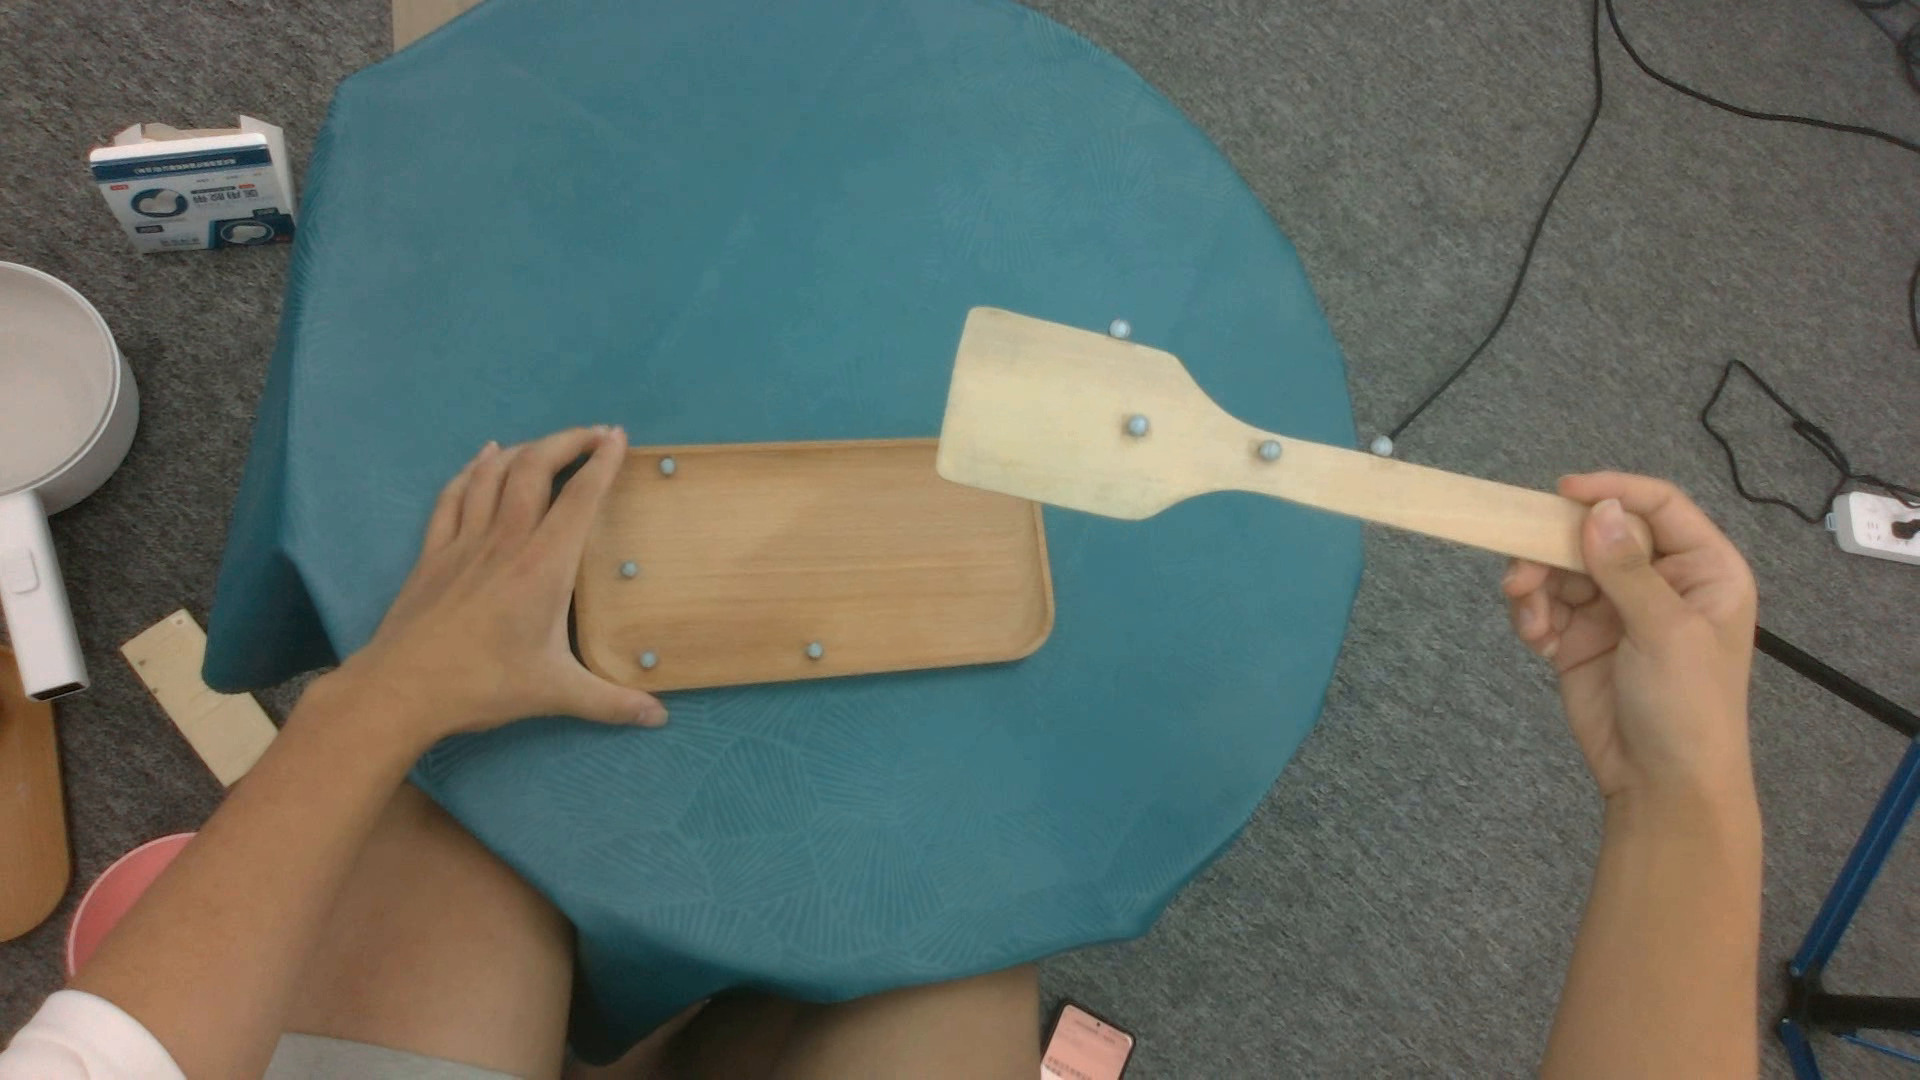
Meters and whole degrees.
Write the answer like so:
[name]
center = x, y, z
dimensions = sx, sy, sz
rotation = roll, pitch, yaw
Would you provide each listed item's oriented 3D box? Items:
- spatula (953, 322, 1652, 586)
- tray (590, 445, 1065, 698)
[spatula]
center = 0.144, -0.024, 0.553
dimensions = 0.293, 0.010, 0.072
rotation = 12, 82, -7
[tray]
center = -0.068, 0.014, 0.739
dimensions = 0.251, 0.023, 0.131
rotation = -2, 77, -17
